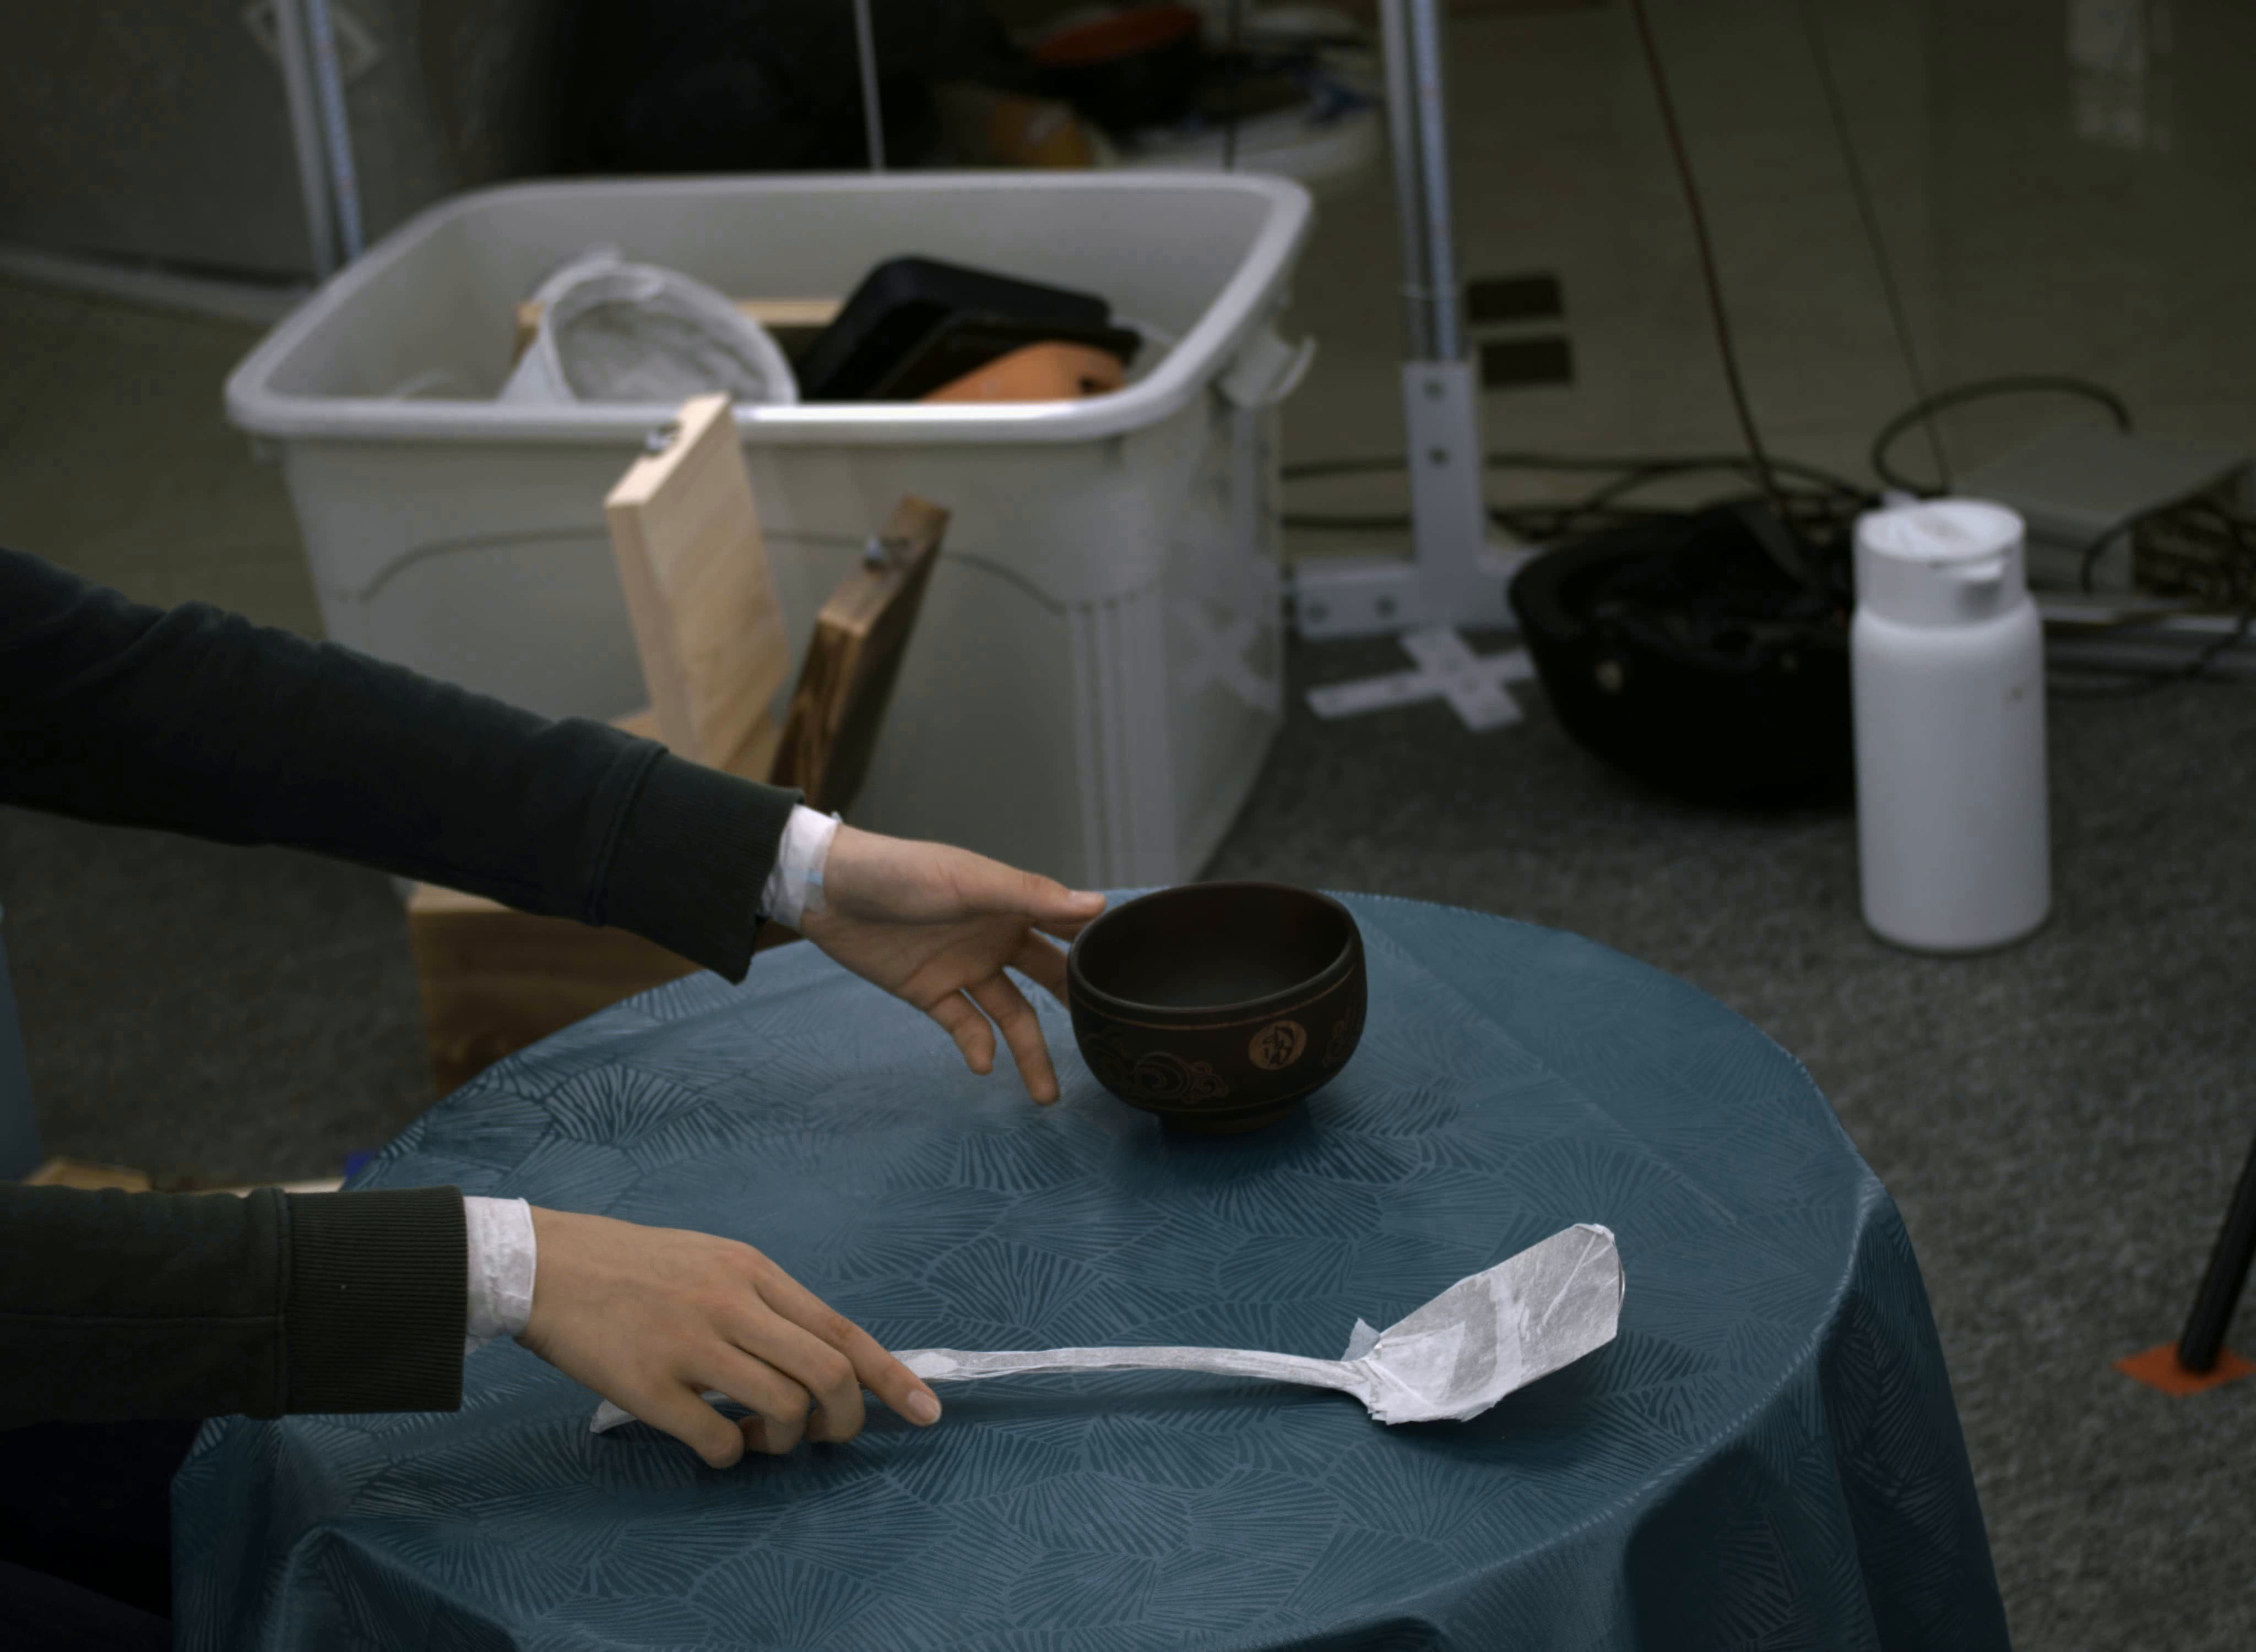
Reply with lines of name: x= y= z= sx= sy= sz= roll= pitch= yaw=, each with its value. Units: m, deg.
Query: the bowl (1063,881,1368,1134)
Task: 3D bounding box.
bowl: x=0.036 y=0.076 z=2.194 sx=0.118 sy=0.071 sz=0.116 roll=-6 pitch=23 yaw=3

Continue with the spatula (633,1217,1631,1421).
spatula: x=-0.003 y=0.184 z=2.011 sx=0.364 sy=0.045 sz=0.097 roll=-3 pitch=27 yaw=8
